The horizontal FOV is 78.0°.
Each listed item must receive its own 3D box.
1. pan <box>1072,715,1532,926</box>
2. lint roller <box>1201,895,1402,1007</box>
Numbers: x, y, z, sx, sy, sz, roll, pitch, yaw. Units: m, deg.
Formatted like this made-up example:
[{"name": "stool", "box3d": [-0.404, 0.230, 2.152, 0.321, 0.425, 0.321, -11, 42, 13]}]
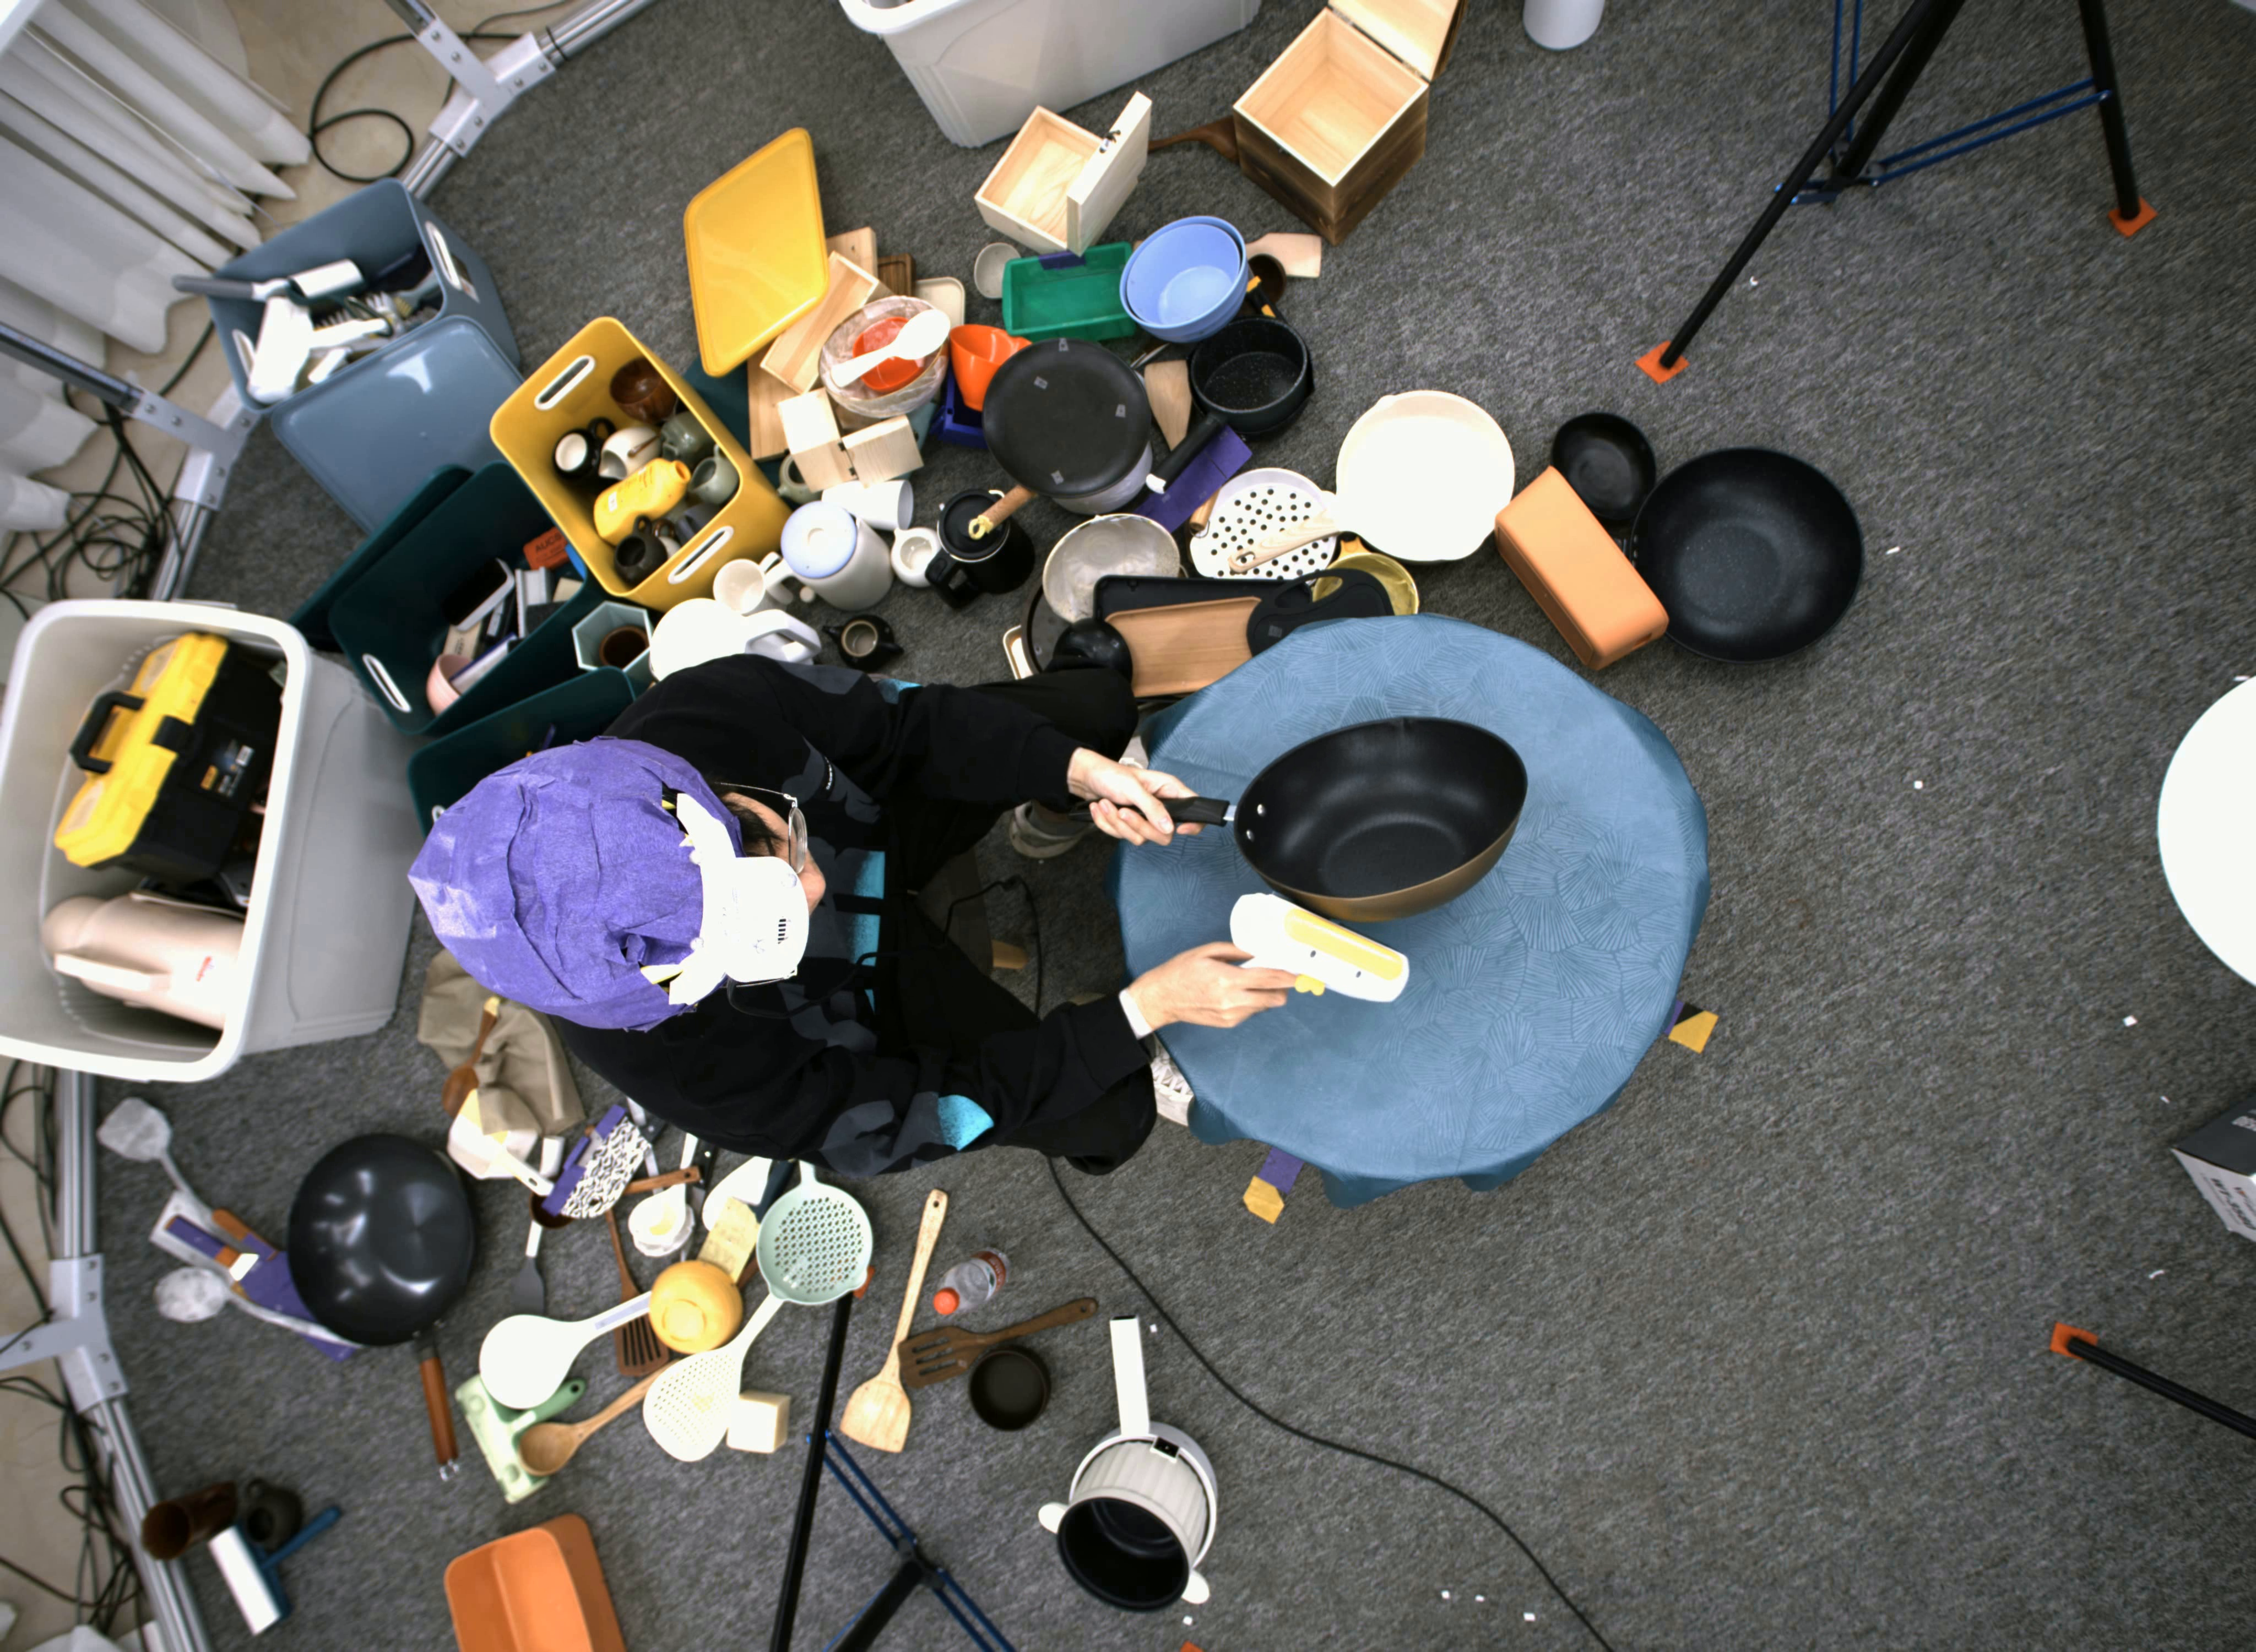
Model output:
[{"name": "pan", "box3d": [0.162, 0.006, 1.350, 0.466, 0.280, 0.088, -1, 129, 25]}, {"name": "lint roller", "box3d": [0.138, 0.131, 1.323, 0.193, 0.195, 0.073, 18, 68, -29]}]
